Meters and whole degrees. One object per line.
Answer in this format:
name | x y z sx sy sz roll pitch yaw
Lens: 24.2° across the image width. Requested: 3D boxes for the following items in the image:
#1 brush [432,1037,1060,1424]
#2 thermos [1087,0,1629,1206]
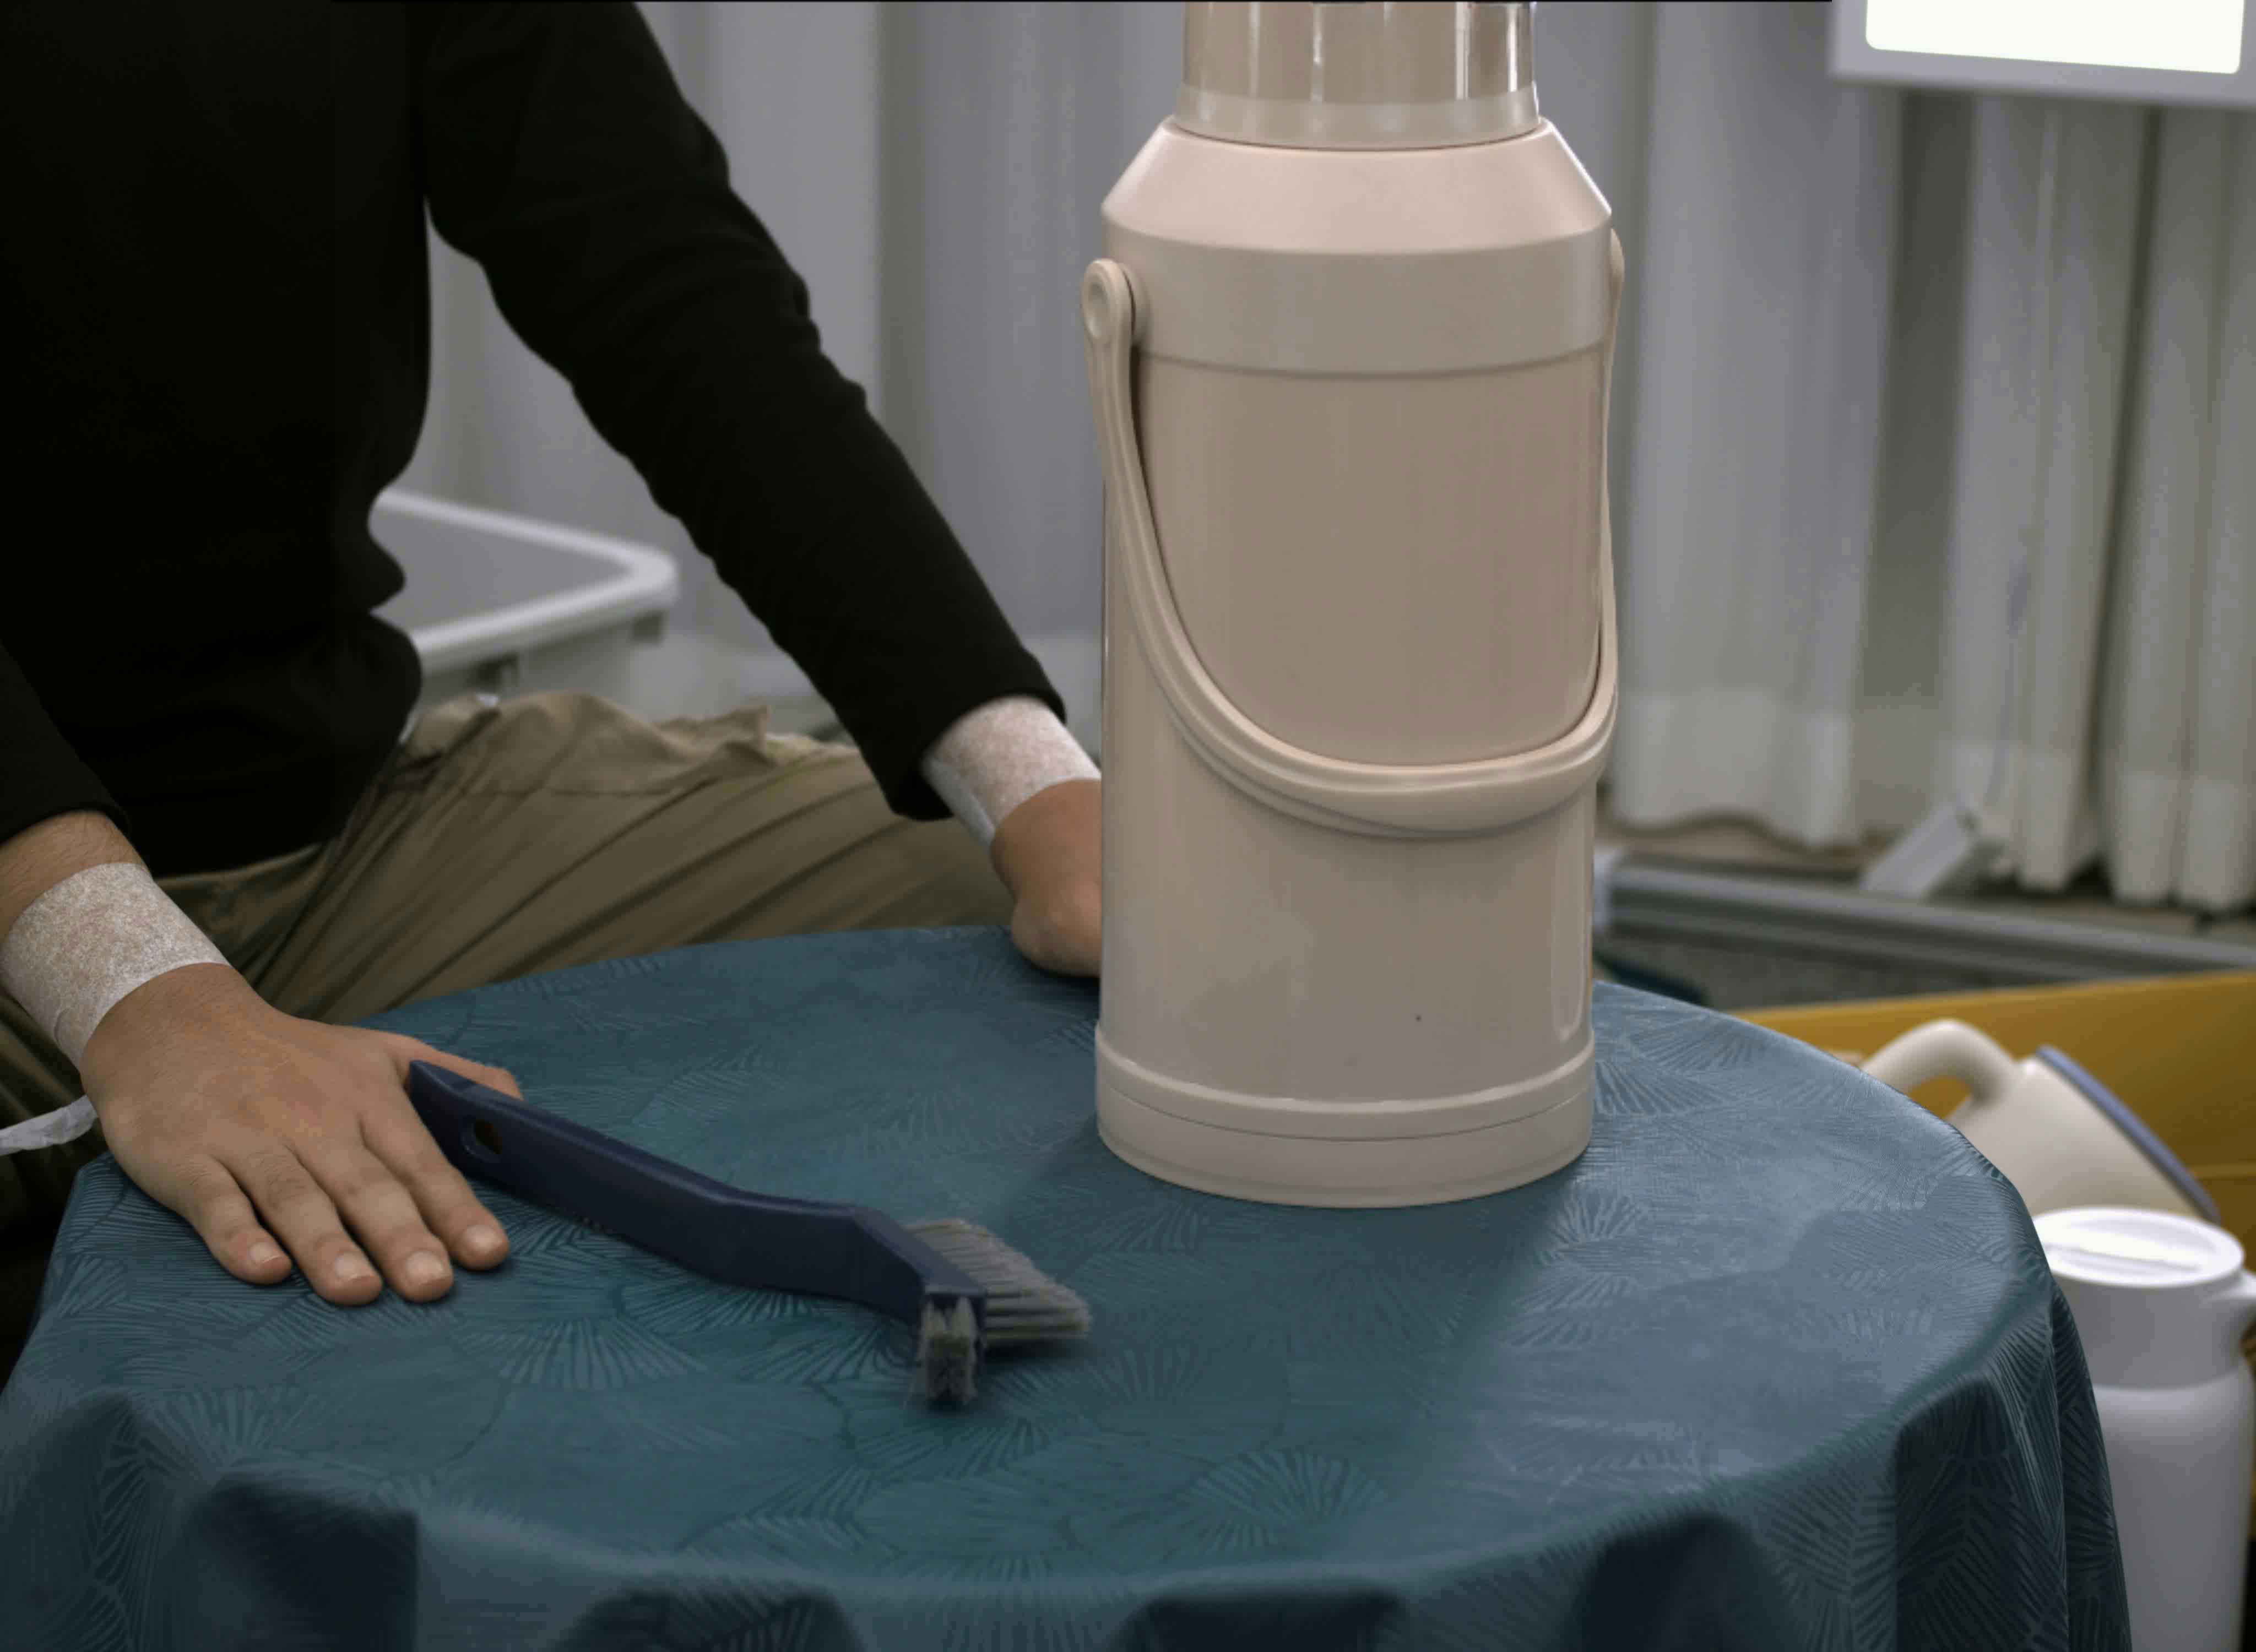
brush | -0.131 0.115 1.545 0.269 0.034 0.096 15 19 36
thermos | 0.066 -0.099 1.639 0.176 0.410 0.204 -9 19 -25
